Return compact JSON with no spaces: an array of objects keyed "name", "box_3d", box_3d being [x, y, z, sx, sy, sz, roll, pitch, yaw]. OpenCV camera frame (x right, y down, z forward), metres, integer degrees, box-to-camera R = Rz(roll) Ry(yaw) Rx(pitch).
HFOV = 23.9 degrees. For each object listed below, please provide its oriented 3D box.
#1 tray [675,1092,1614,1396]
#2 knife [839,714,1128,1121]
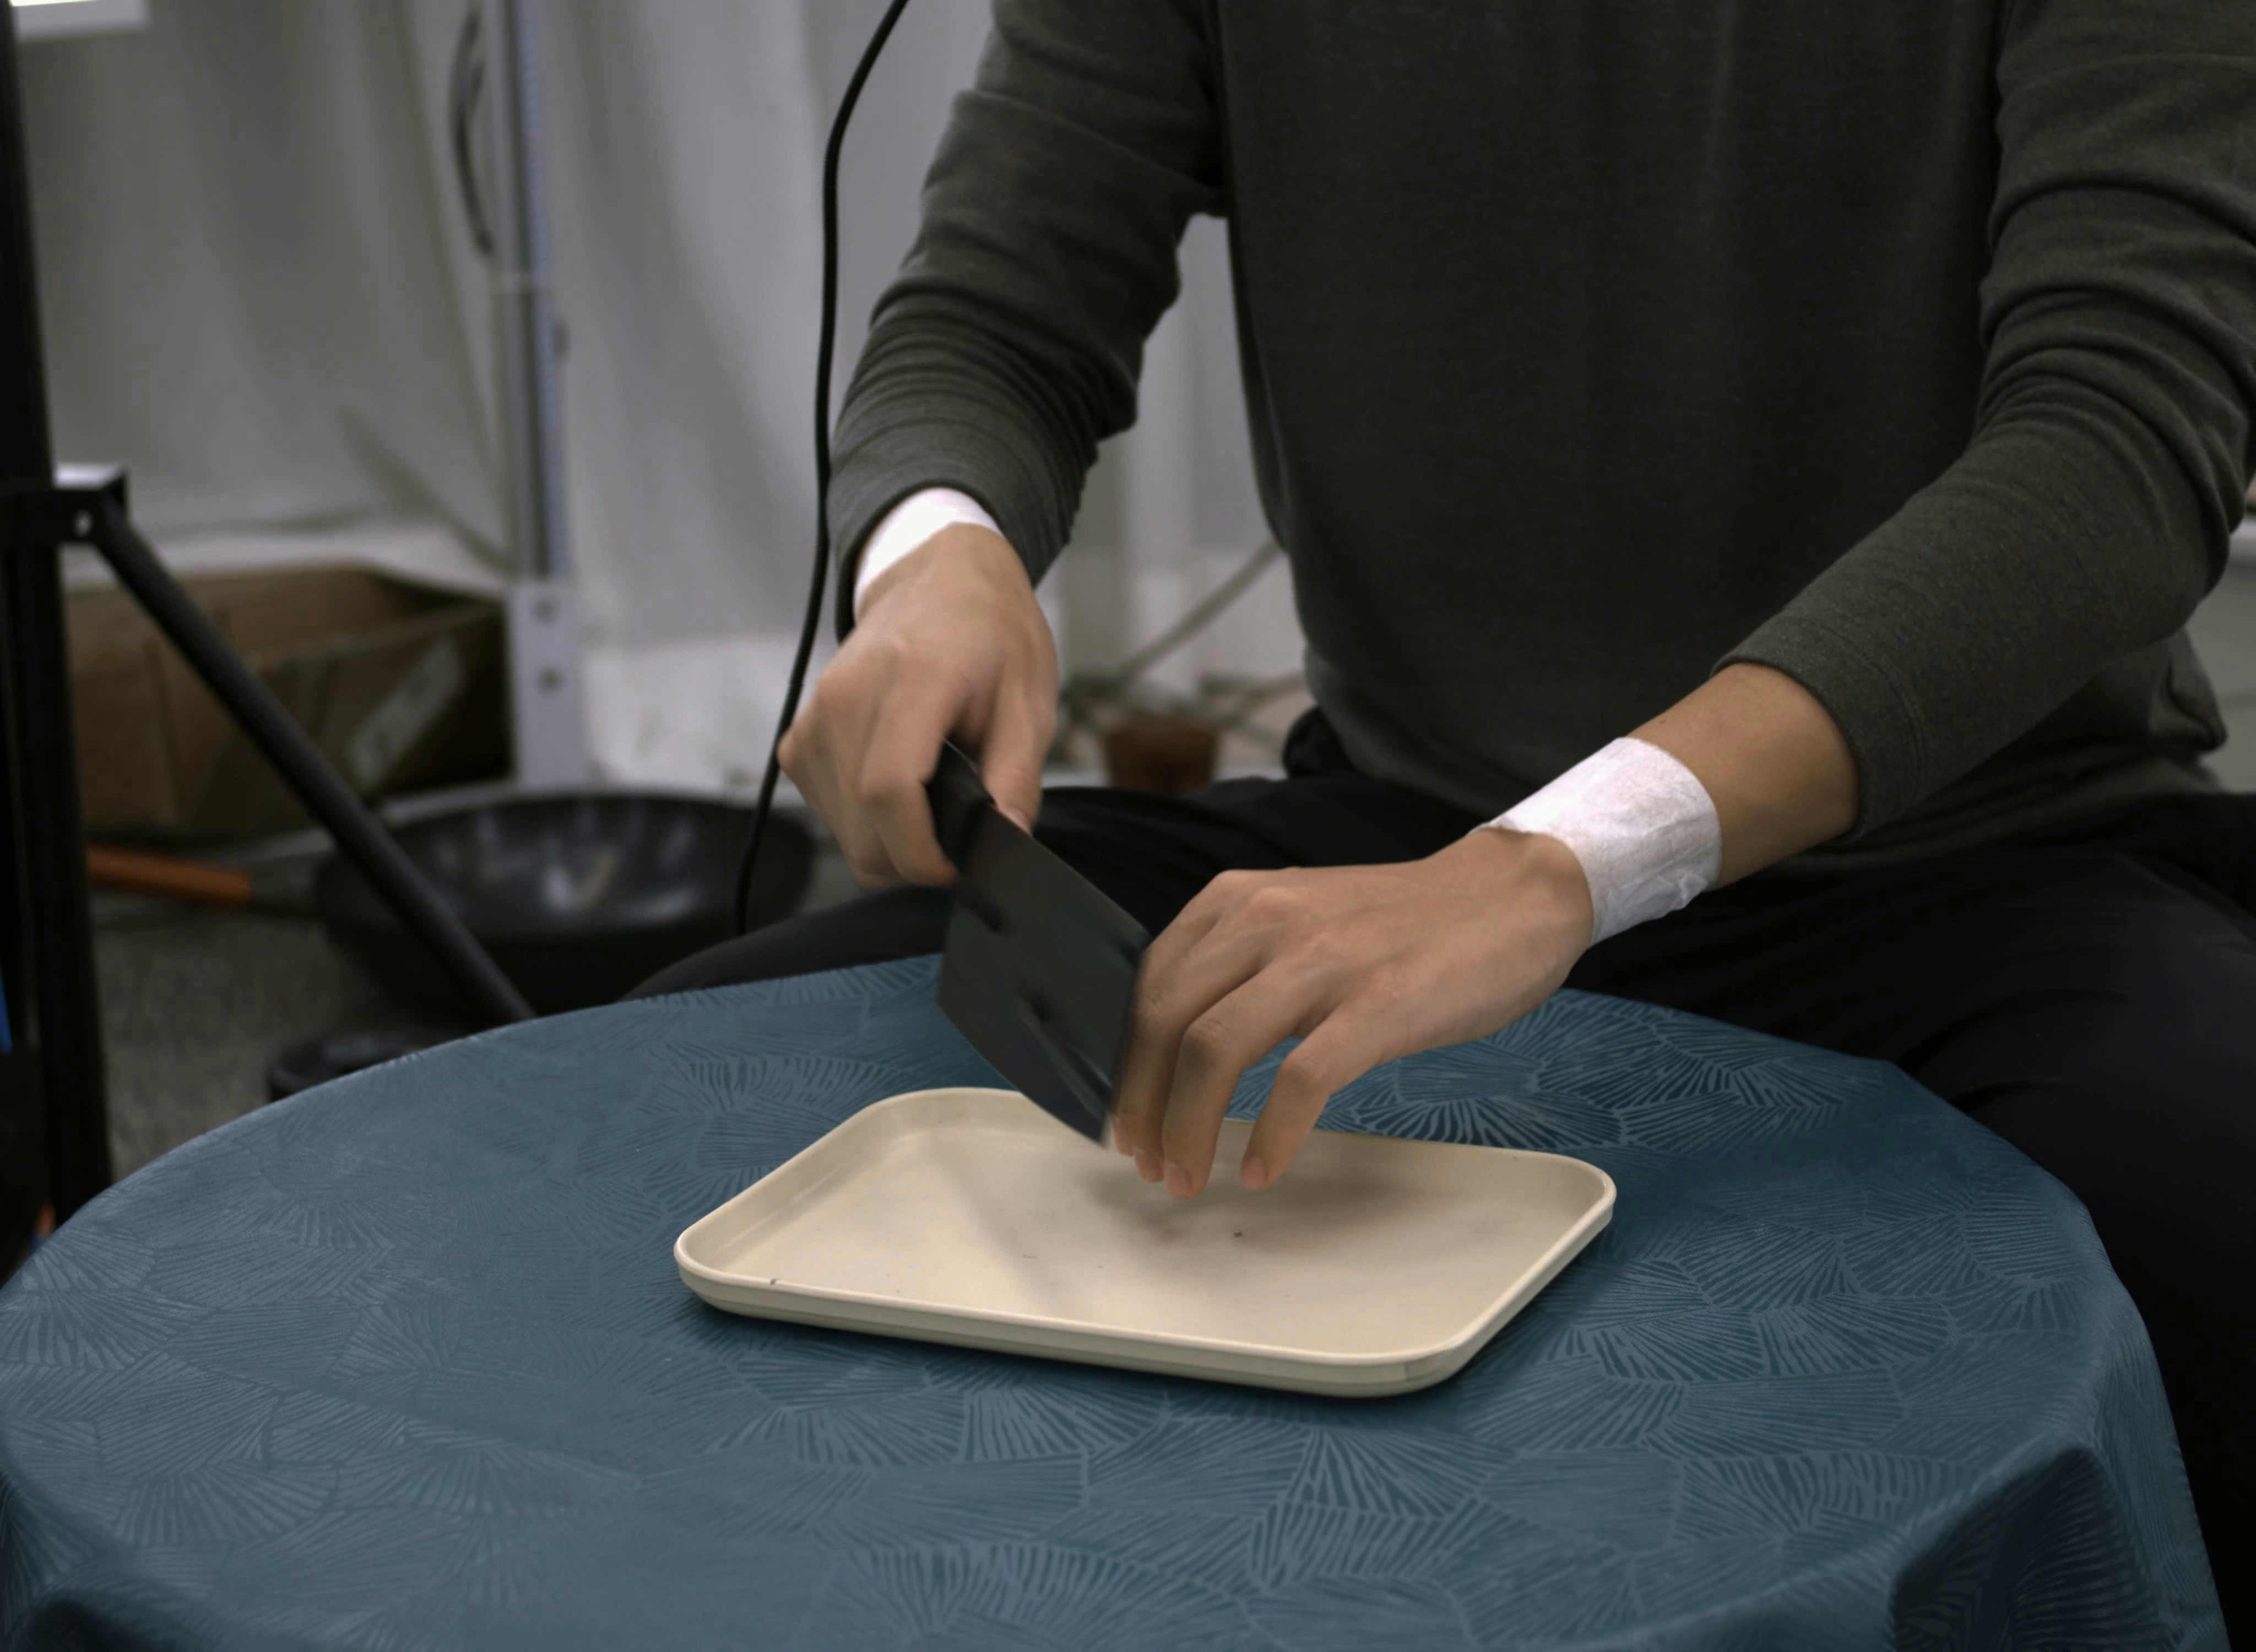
[{"name":"tray","box_3d":[0.006,0.117,1.497,0.243,0.017,0.168,5,17,26]},{"name":"knife","box_3d":[-0.045,0.019,1.546,0.020,0.081,0.306,9,13,-17]}]
